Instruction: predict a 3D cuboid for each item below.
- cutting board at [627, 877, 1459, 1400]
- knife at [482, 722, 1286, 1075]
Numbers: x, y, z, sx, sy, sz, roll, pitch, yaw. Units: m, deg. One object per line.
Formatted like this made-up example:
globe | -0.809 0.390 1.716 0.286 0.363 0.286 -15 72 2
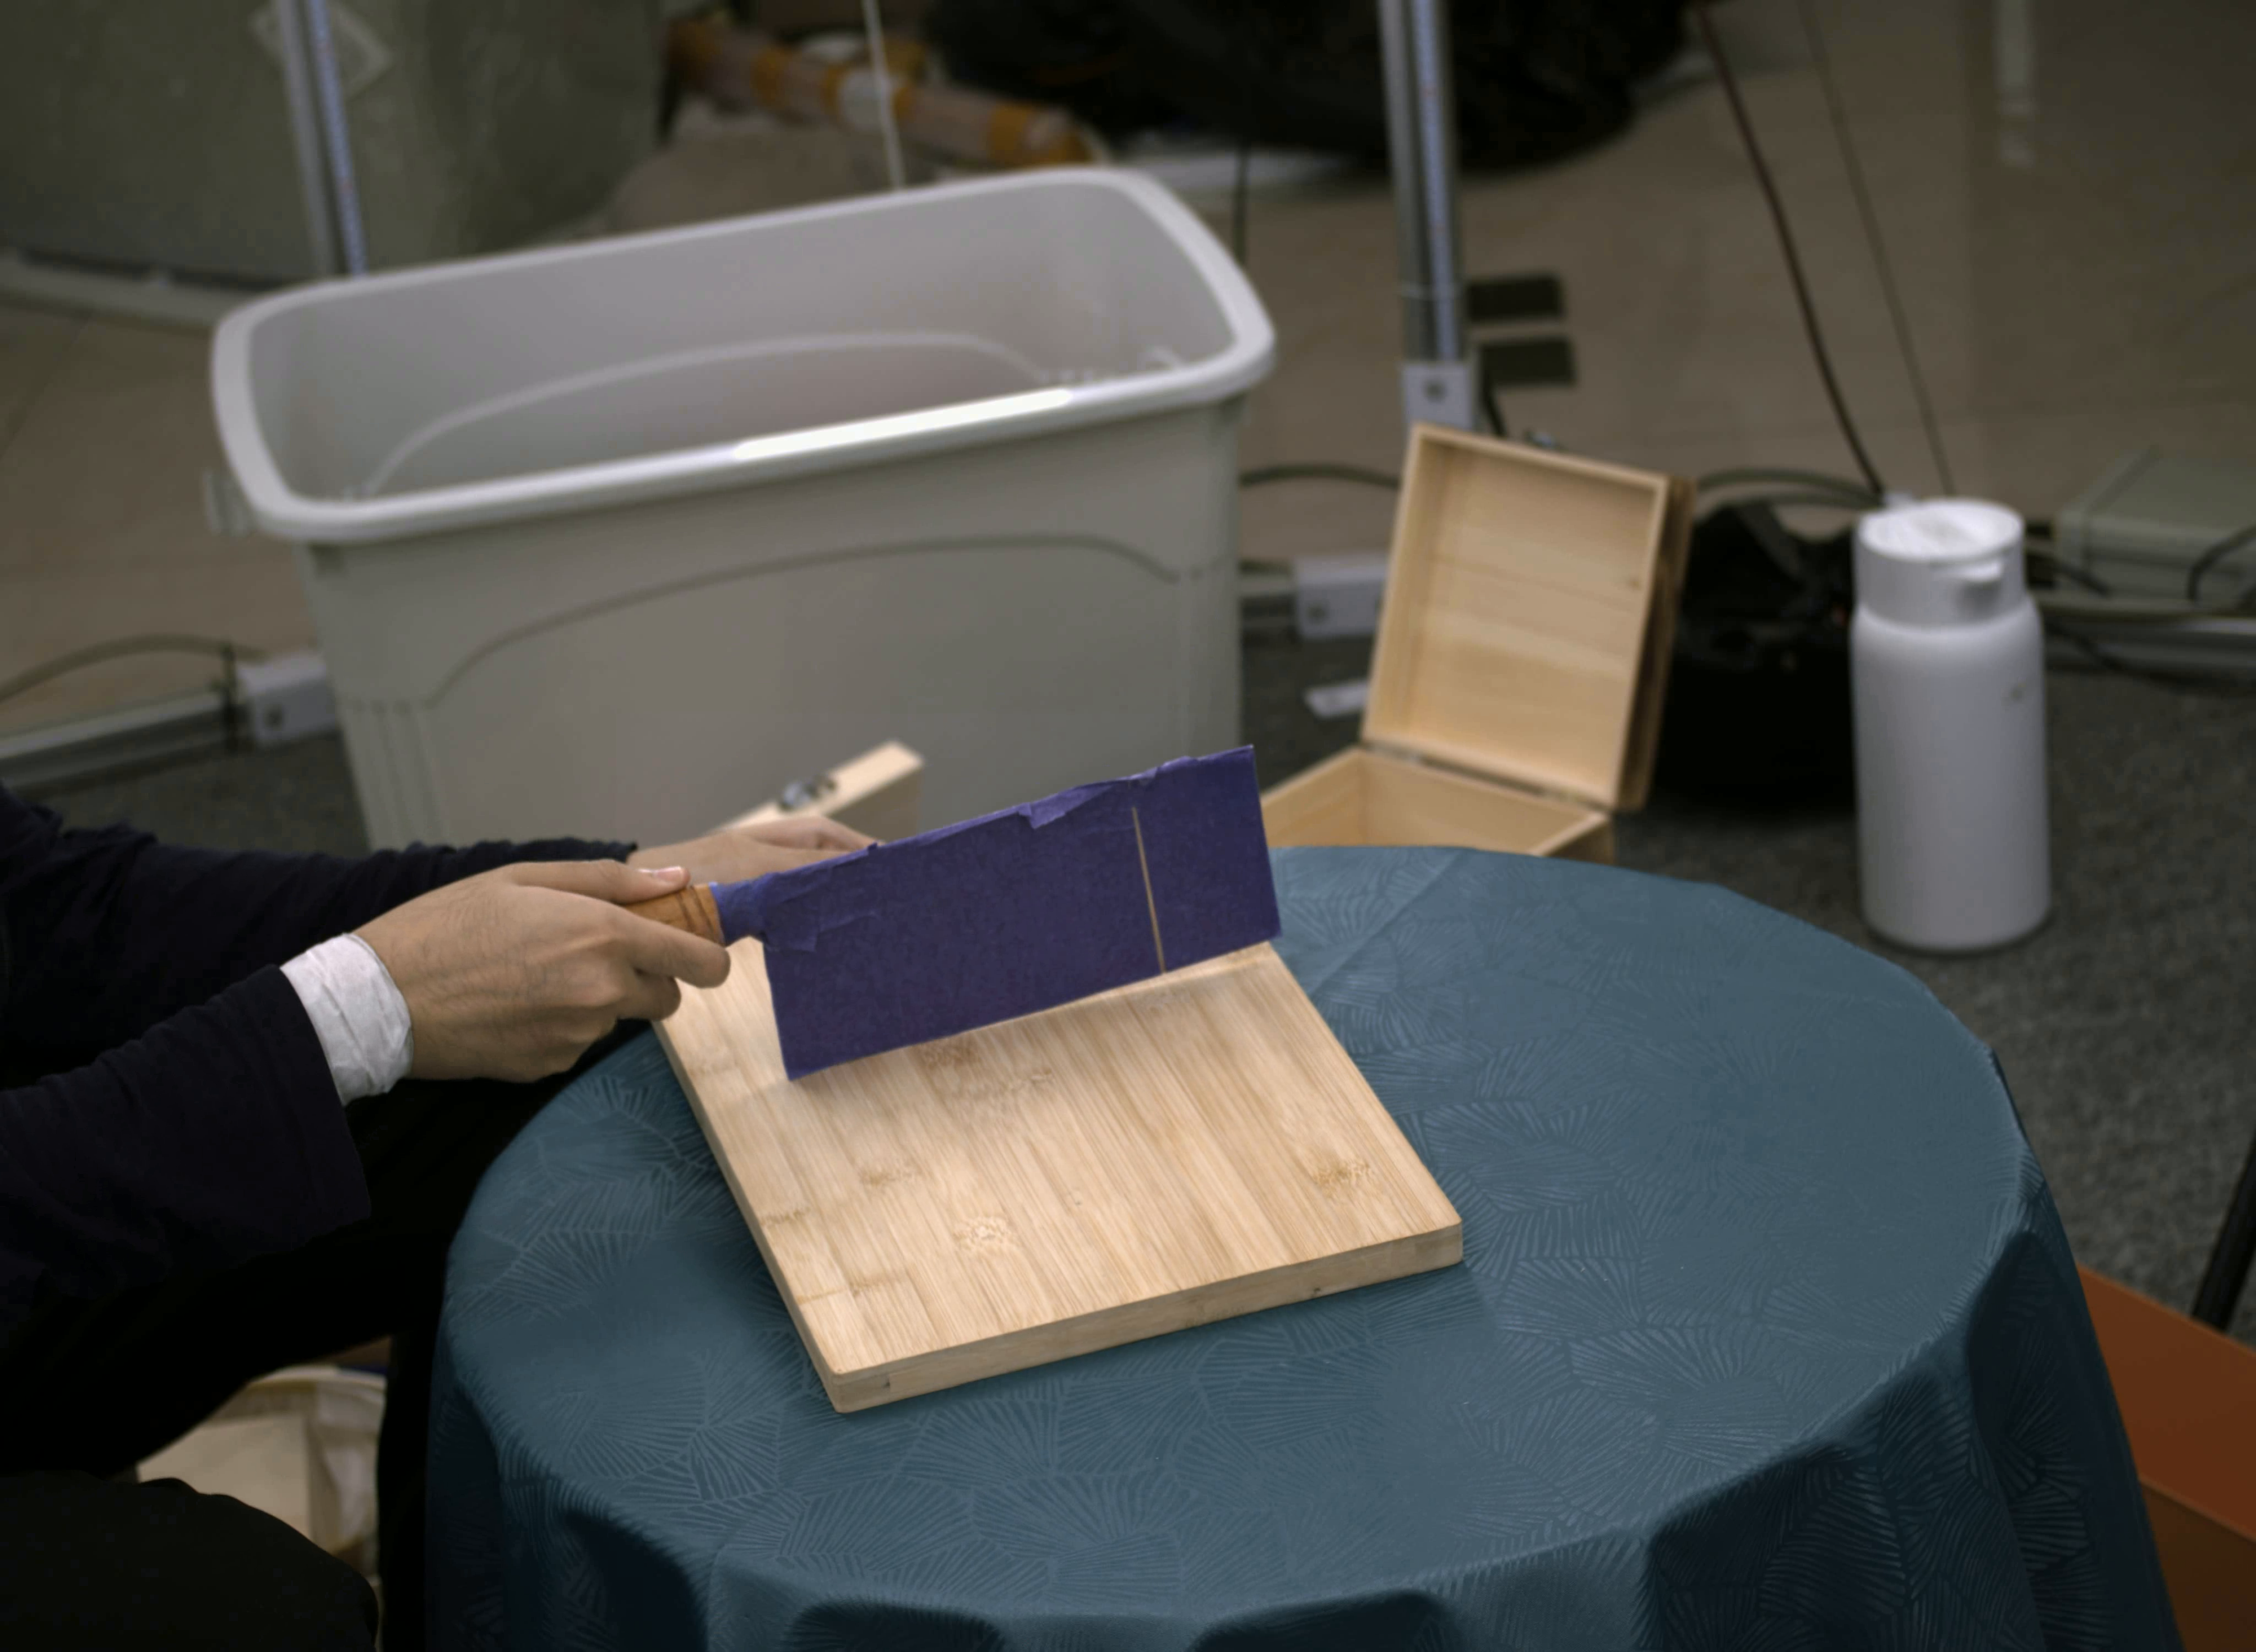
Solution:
cutting board | -0.042 0.100 2.191 0.250 0.024 0.343 -13 30 -13
knife | -0.088 0.046 2.176 0.314 0.105 0.032 -15 30 -11
